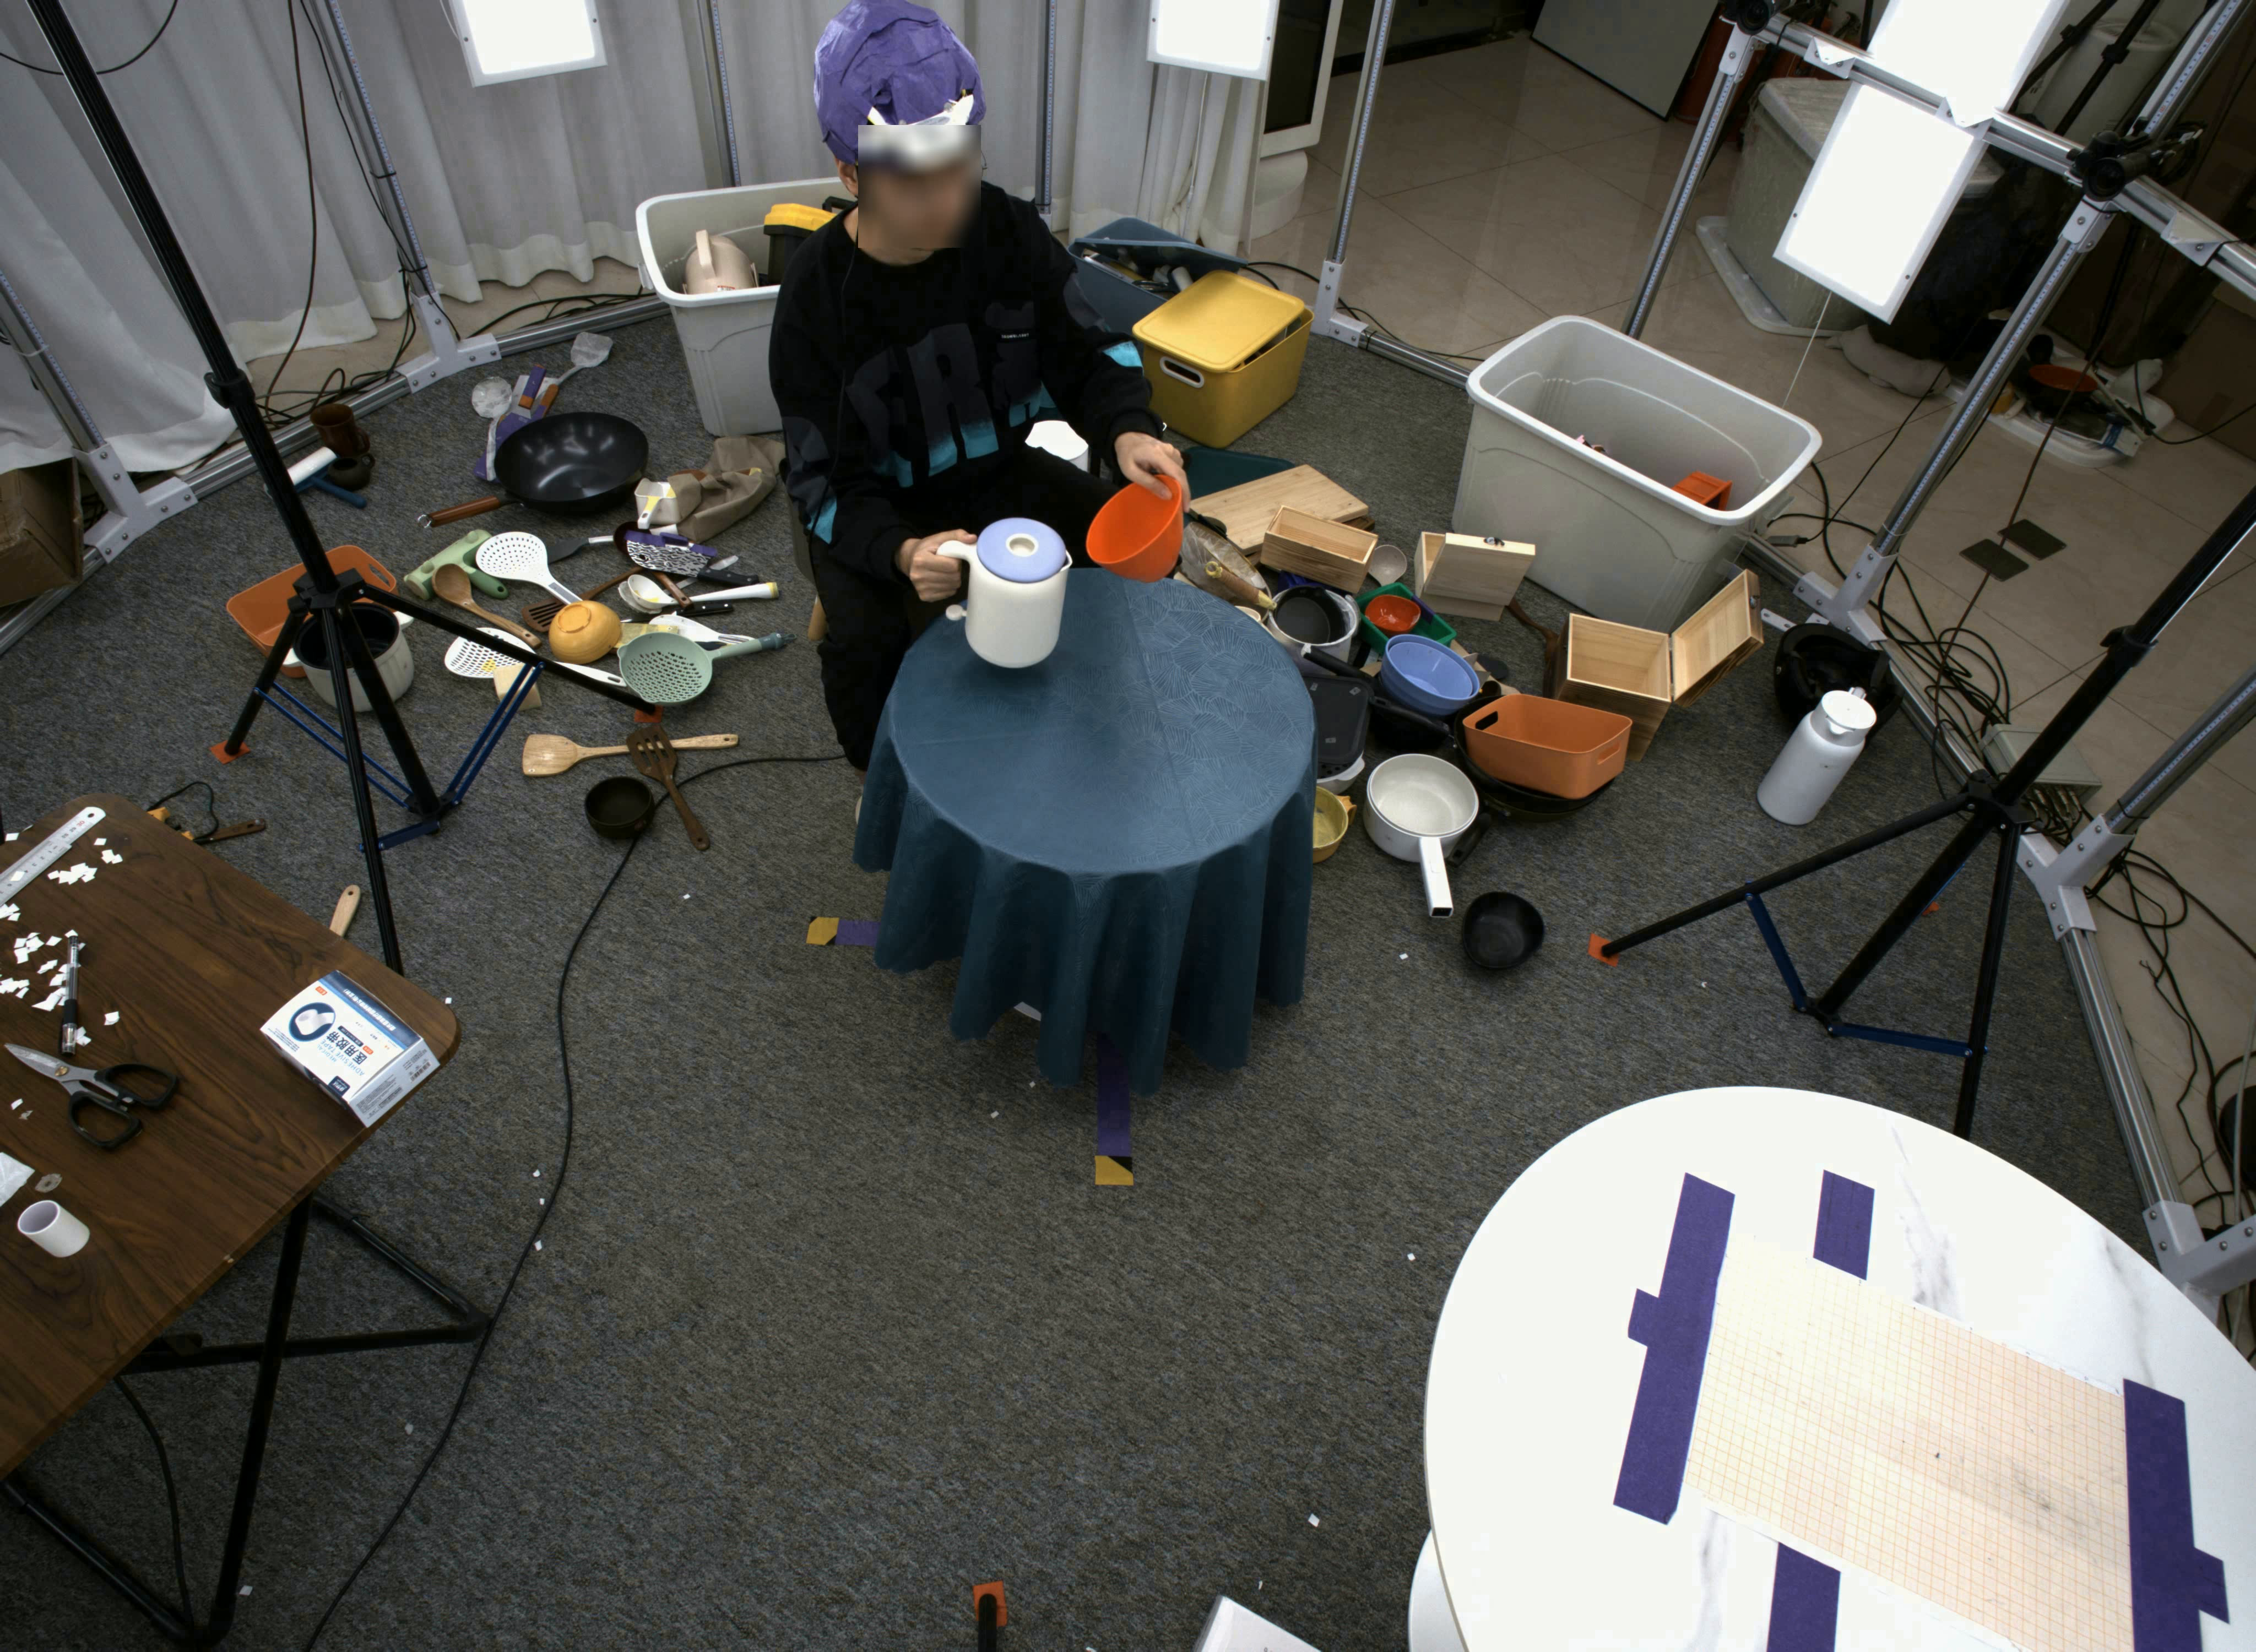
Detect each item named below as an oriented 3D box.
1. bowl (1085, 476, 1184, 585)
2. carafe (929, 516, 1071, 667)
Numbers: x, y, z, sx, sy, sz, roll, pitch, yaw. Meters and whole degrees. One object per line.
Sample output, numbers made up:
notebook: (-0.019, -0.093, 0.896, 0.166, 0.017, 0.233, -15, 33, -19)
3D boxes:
bowl: (0.024, -0.374, 1.690, 0.148, 0.102, 0.151, -15, 52, 20)
carafe: (-0.176, -0.322, 1.751, 0.191, 0.178, 0.135, 10, 53, 1)
